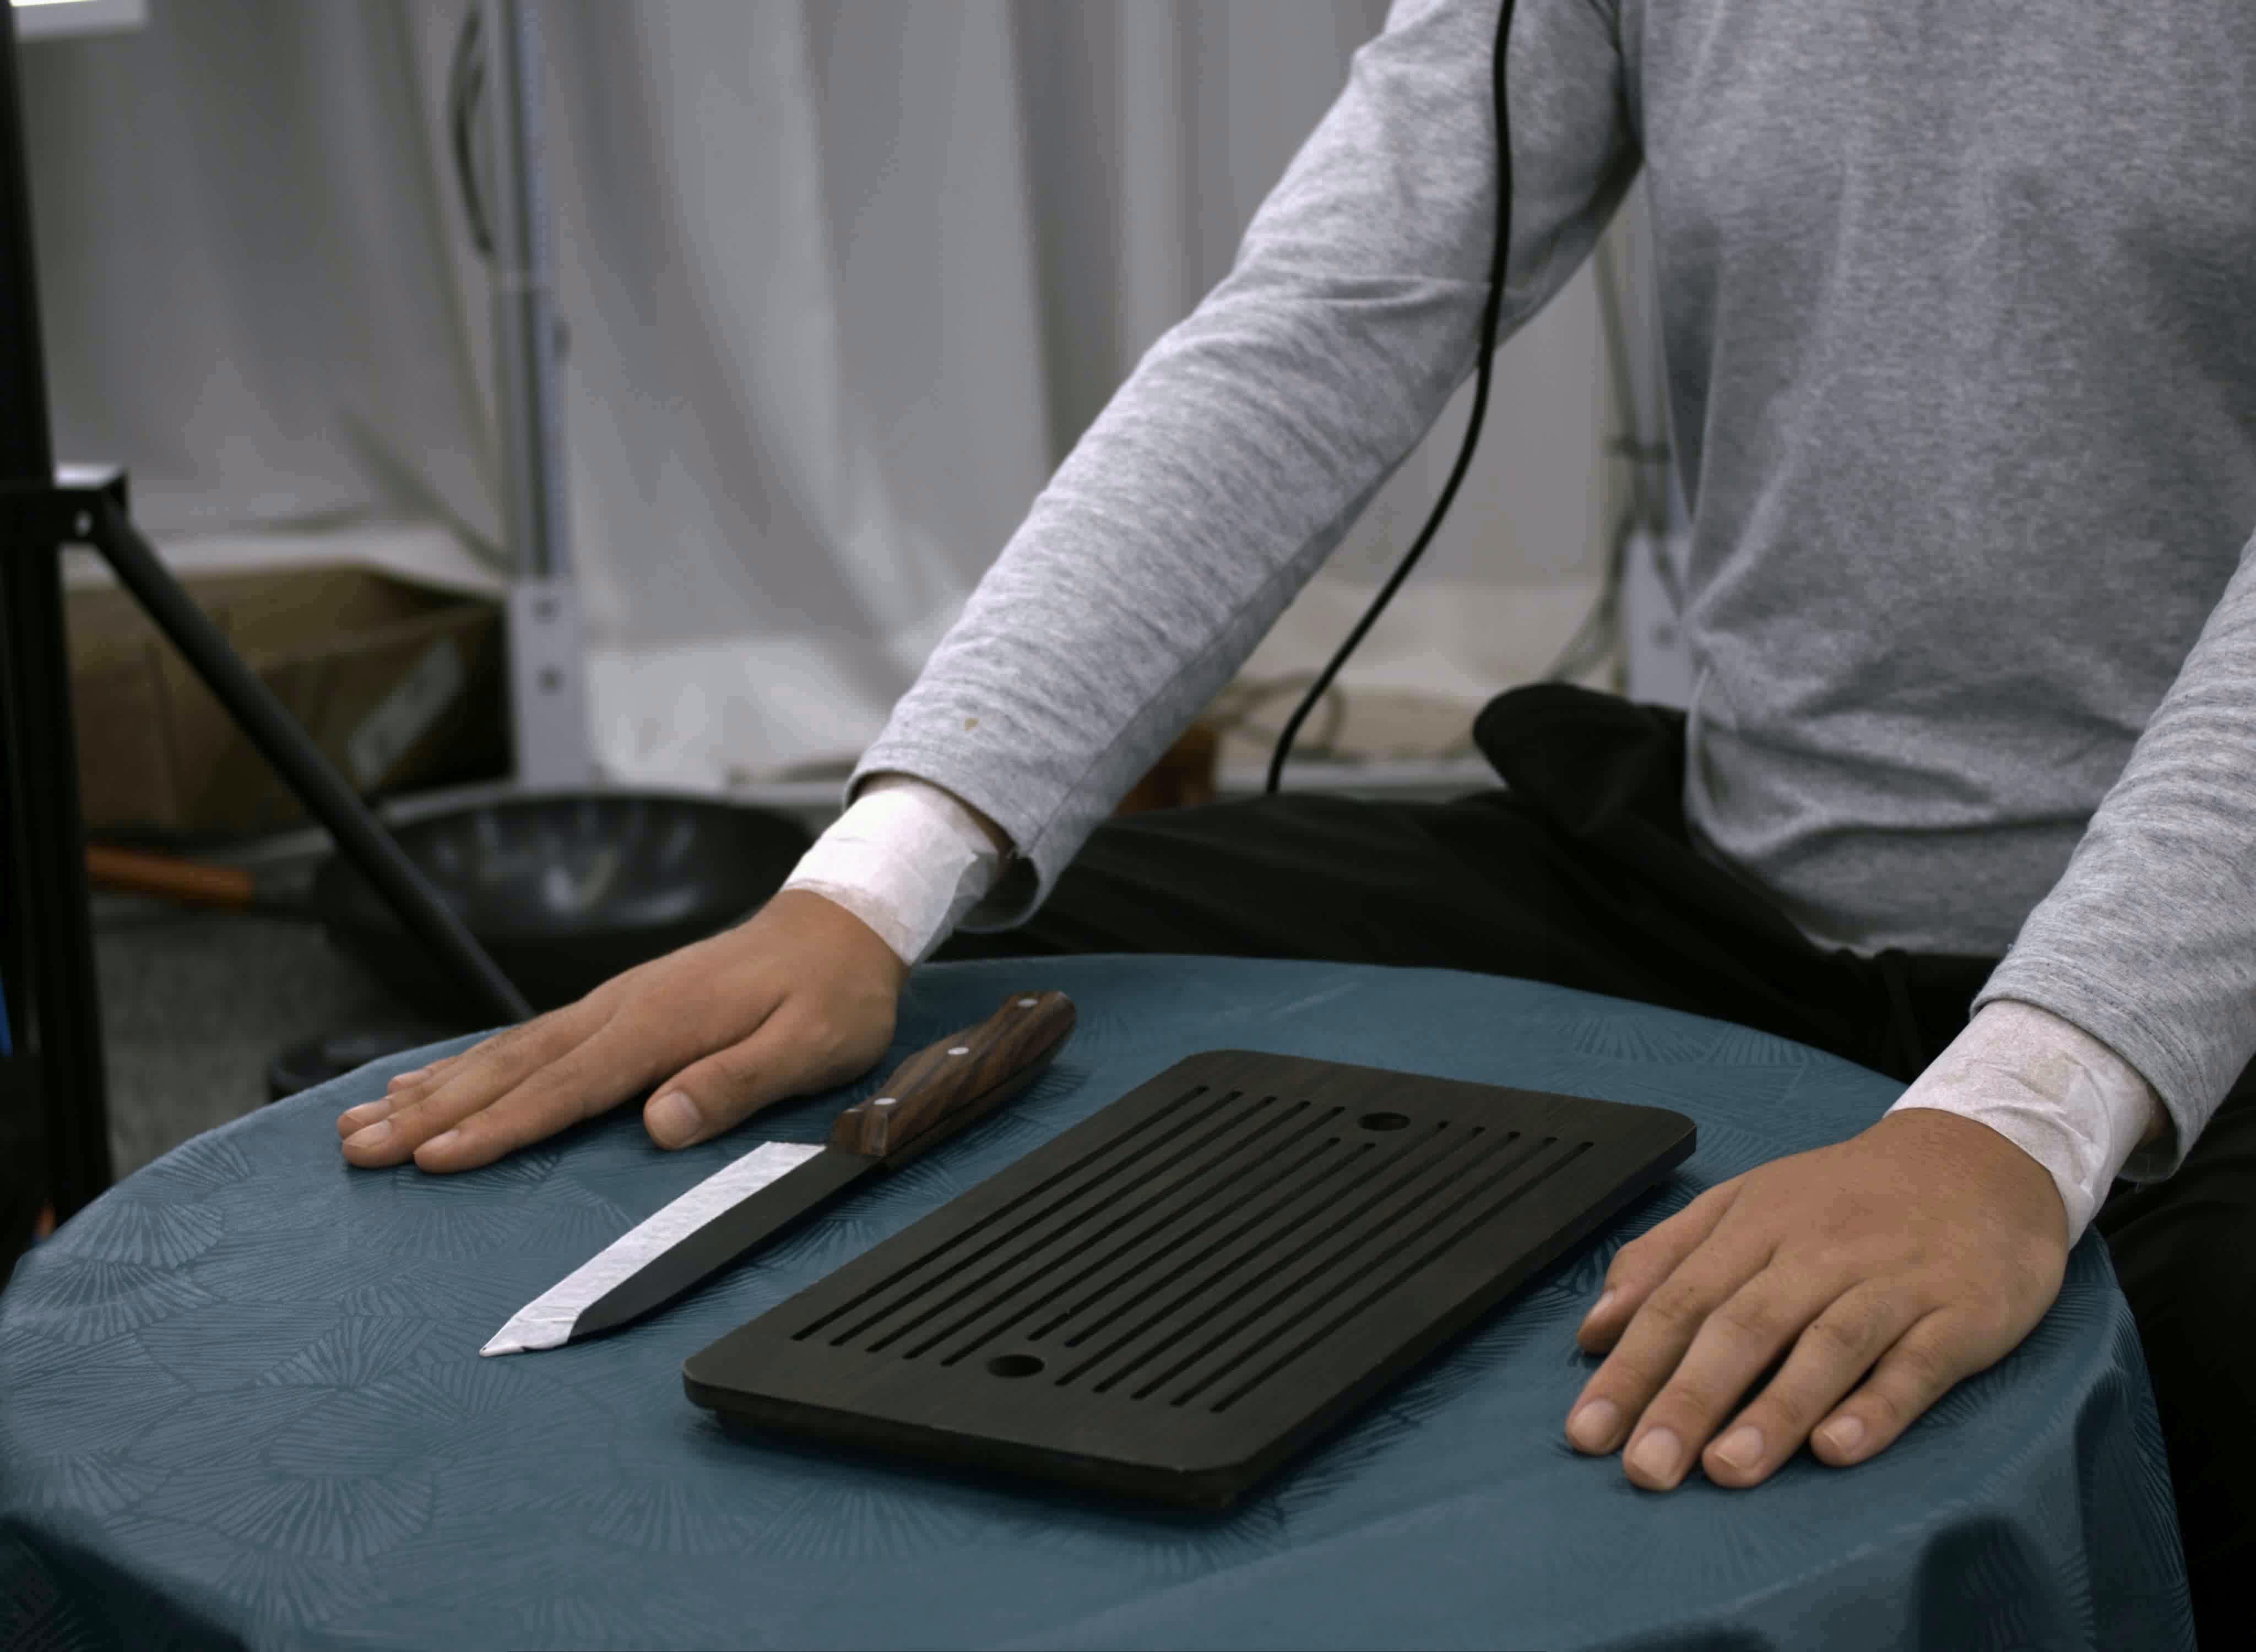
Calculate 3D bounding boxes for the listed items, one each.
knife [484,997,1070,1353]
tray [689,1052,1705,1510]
[{"bbox_3d":[-0.098,0.103,1.568,0.051,0.020,0.284,2,18,33],"label":"knife"},{"bbox_3d":[0.027,0.122,1.475,0.173,0.018,0.300,7,18,30],"label":"tray"}]
